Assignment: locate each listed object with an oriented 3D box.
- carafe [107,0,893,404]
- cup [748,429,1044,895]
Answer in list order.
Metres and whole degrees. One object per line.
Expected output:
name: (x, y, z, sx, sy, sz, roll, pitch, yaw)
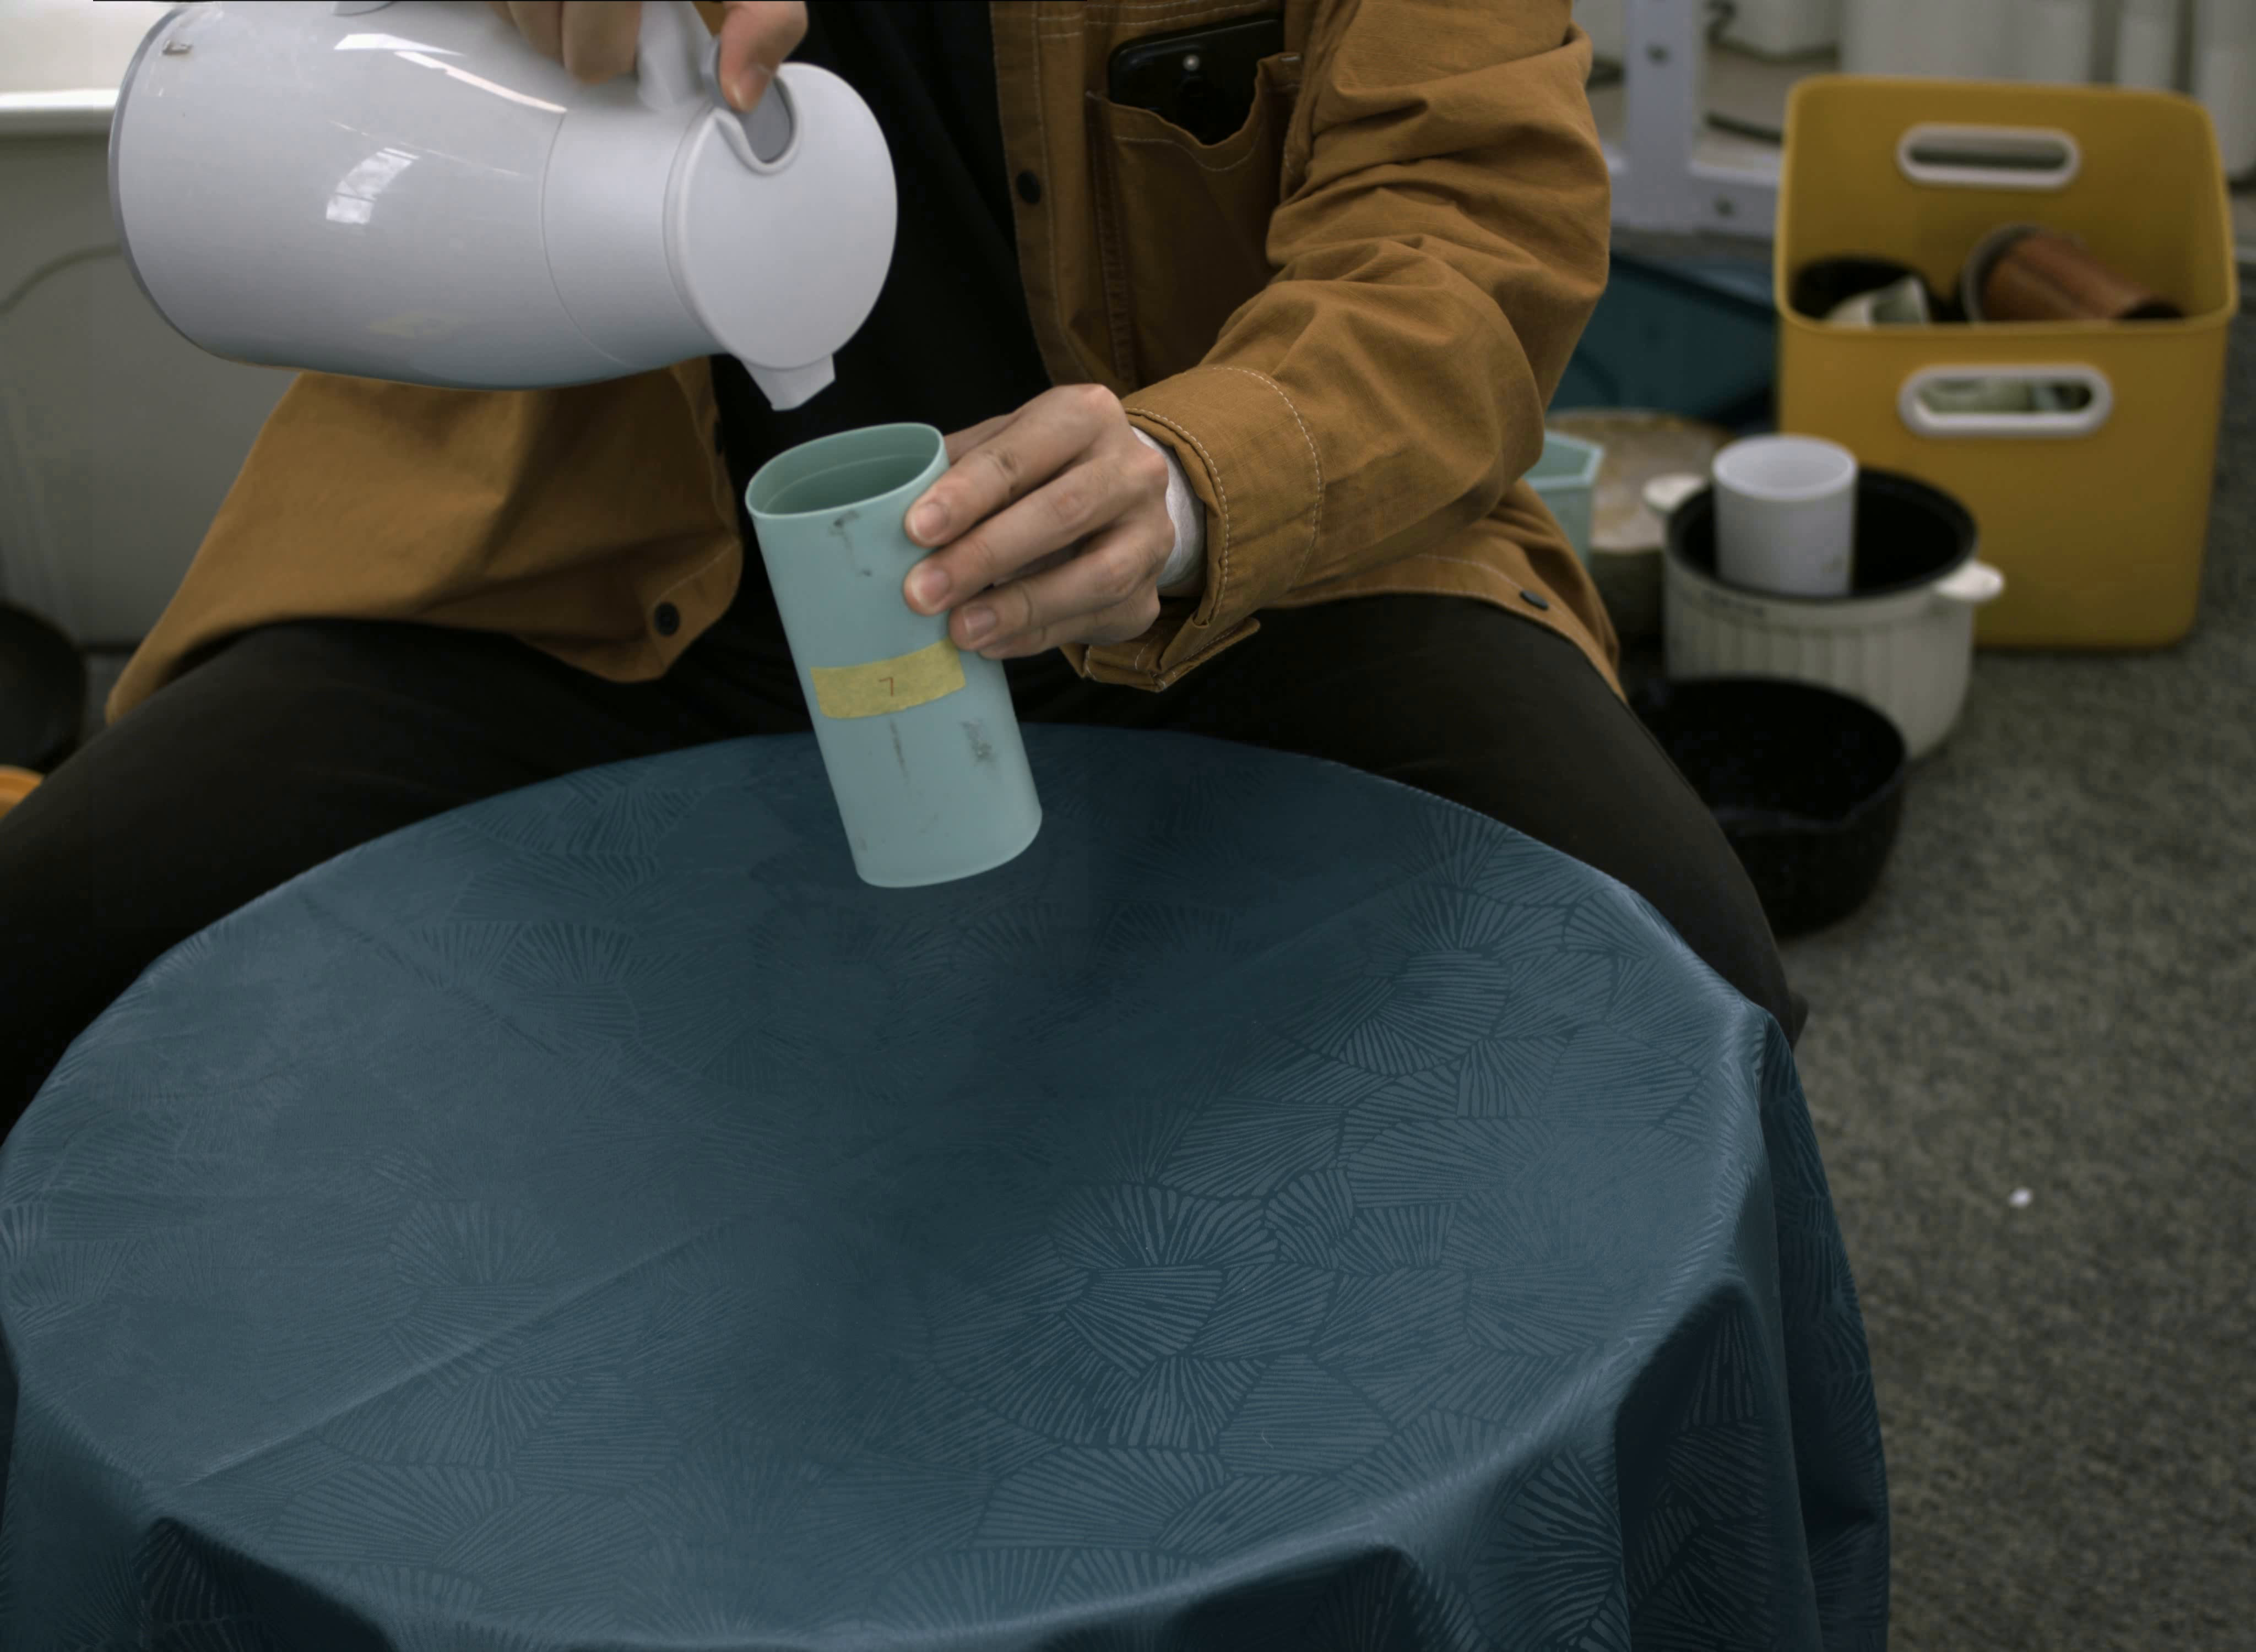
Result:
carafe: (-0.194, -0.215, 1.743, 0.247, 0.166, 0.134, 10, 39, 41)
cup: (-0.071, -0.052, 1.748, 0.066, 0.131, 0.068, -12, 24, 6)
